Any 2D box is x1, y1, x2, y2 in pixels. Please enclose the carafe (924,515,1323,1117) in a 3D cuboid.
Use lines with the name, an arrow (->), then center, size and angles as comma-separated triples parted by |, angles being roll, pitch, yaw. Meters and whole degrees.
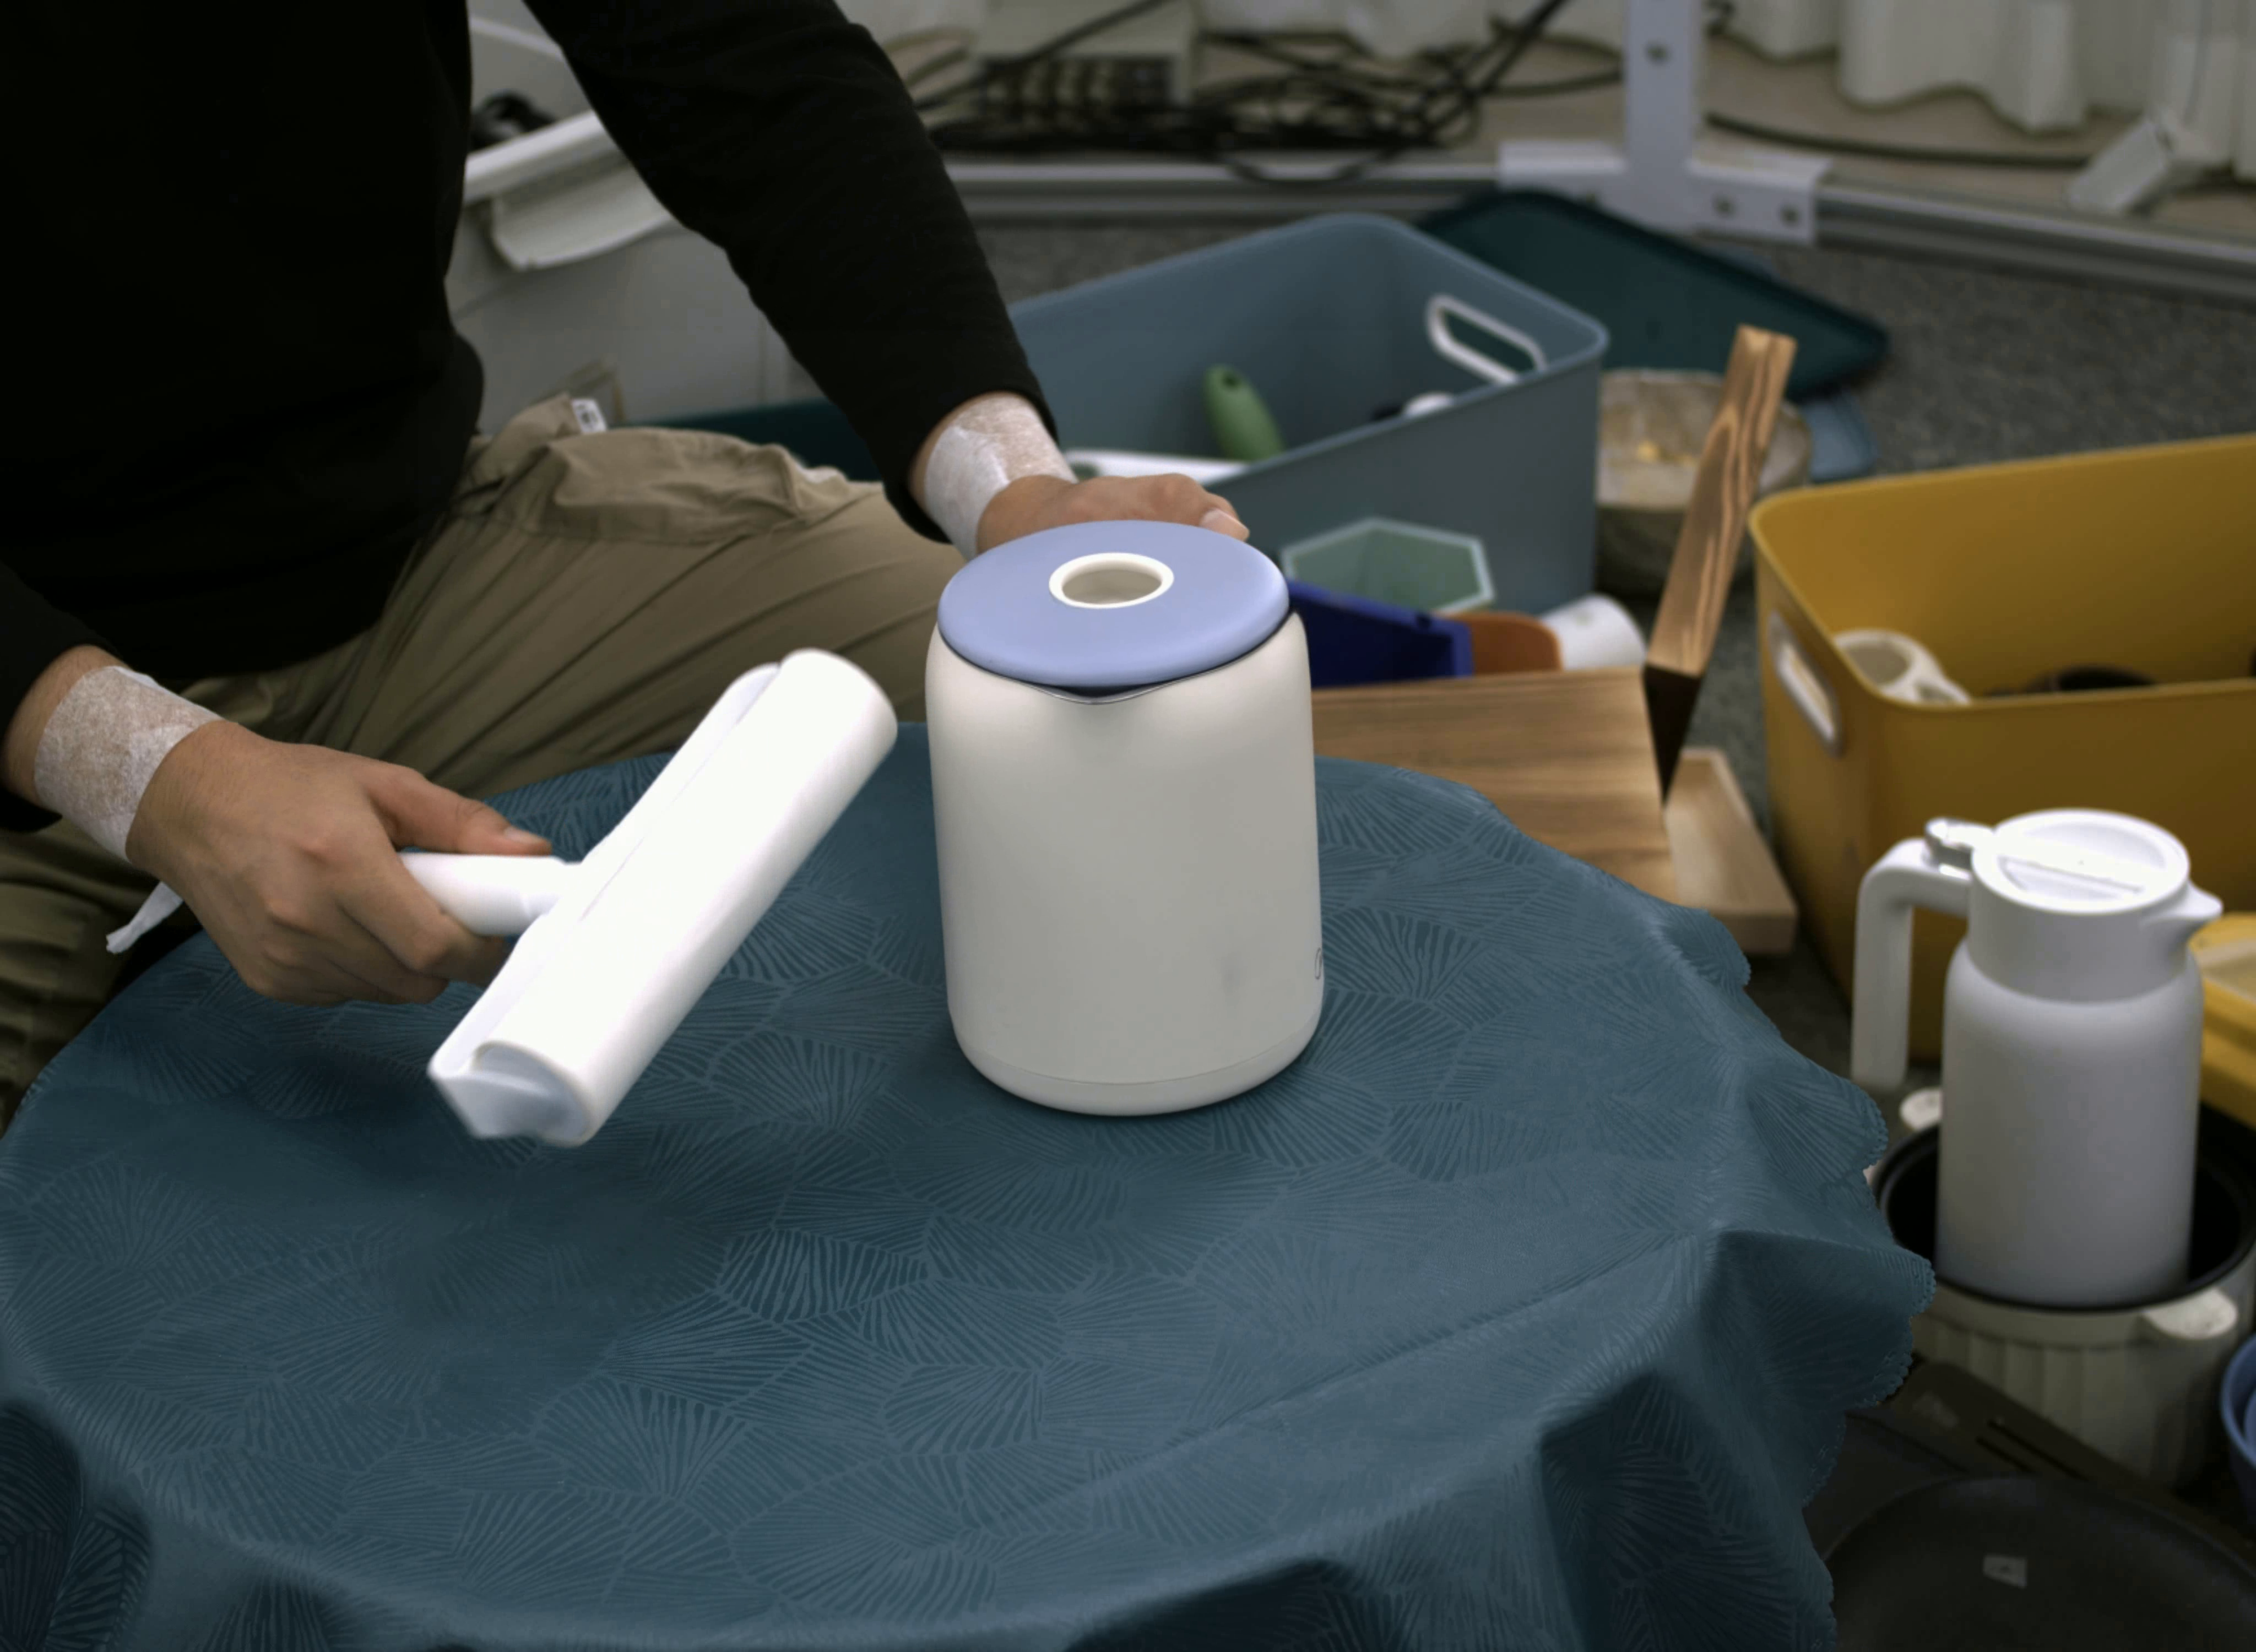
carafe -> 0.001, -0.015, 1.941 | 0.131, 0.181, 0.194 | 0, 25, 4

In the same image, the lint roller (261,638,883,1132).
lint roller -> -0.213, 0.018, 1.890 | 0.223, 0.048, 0.207 | 0, 41, 36
